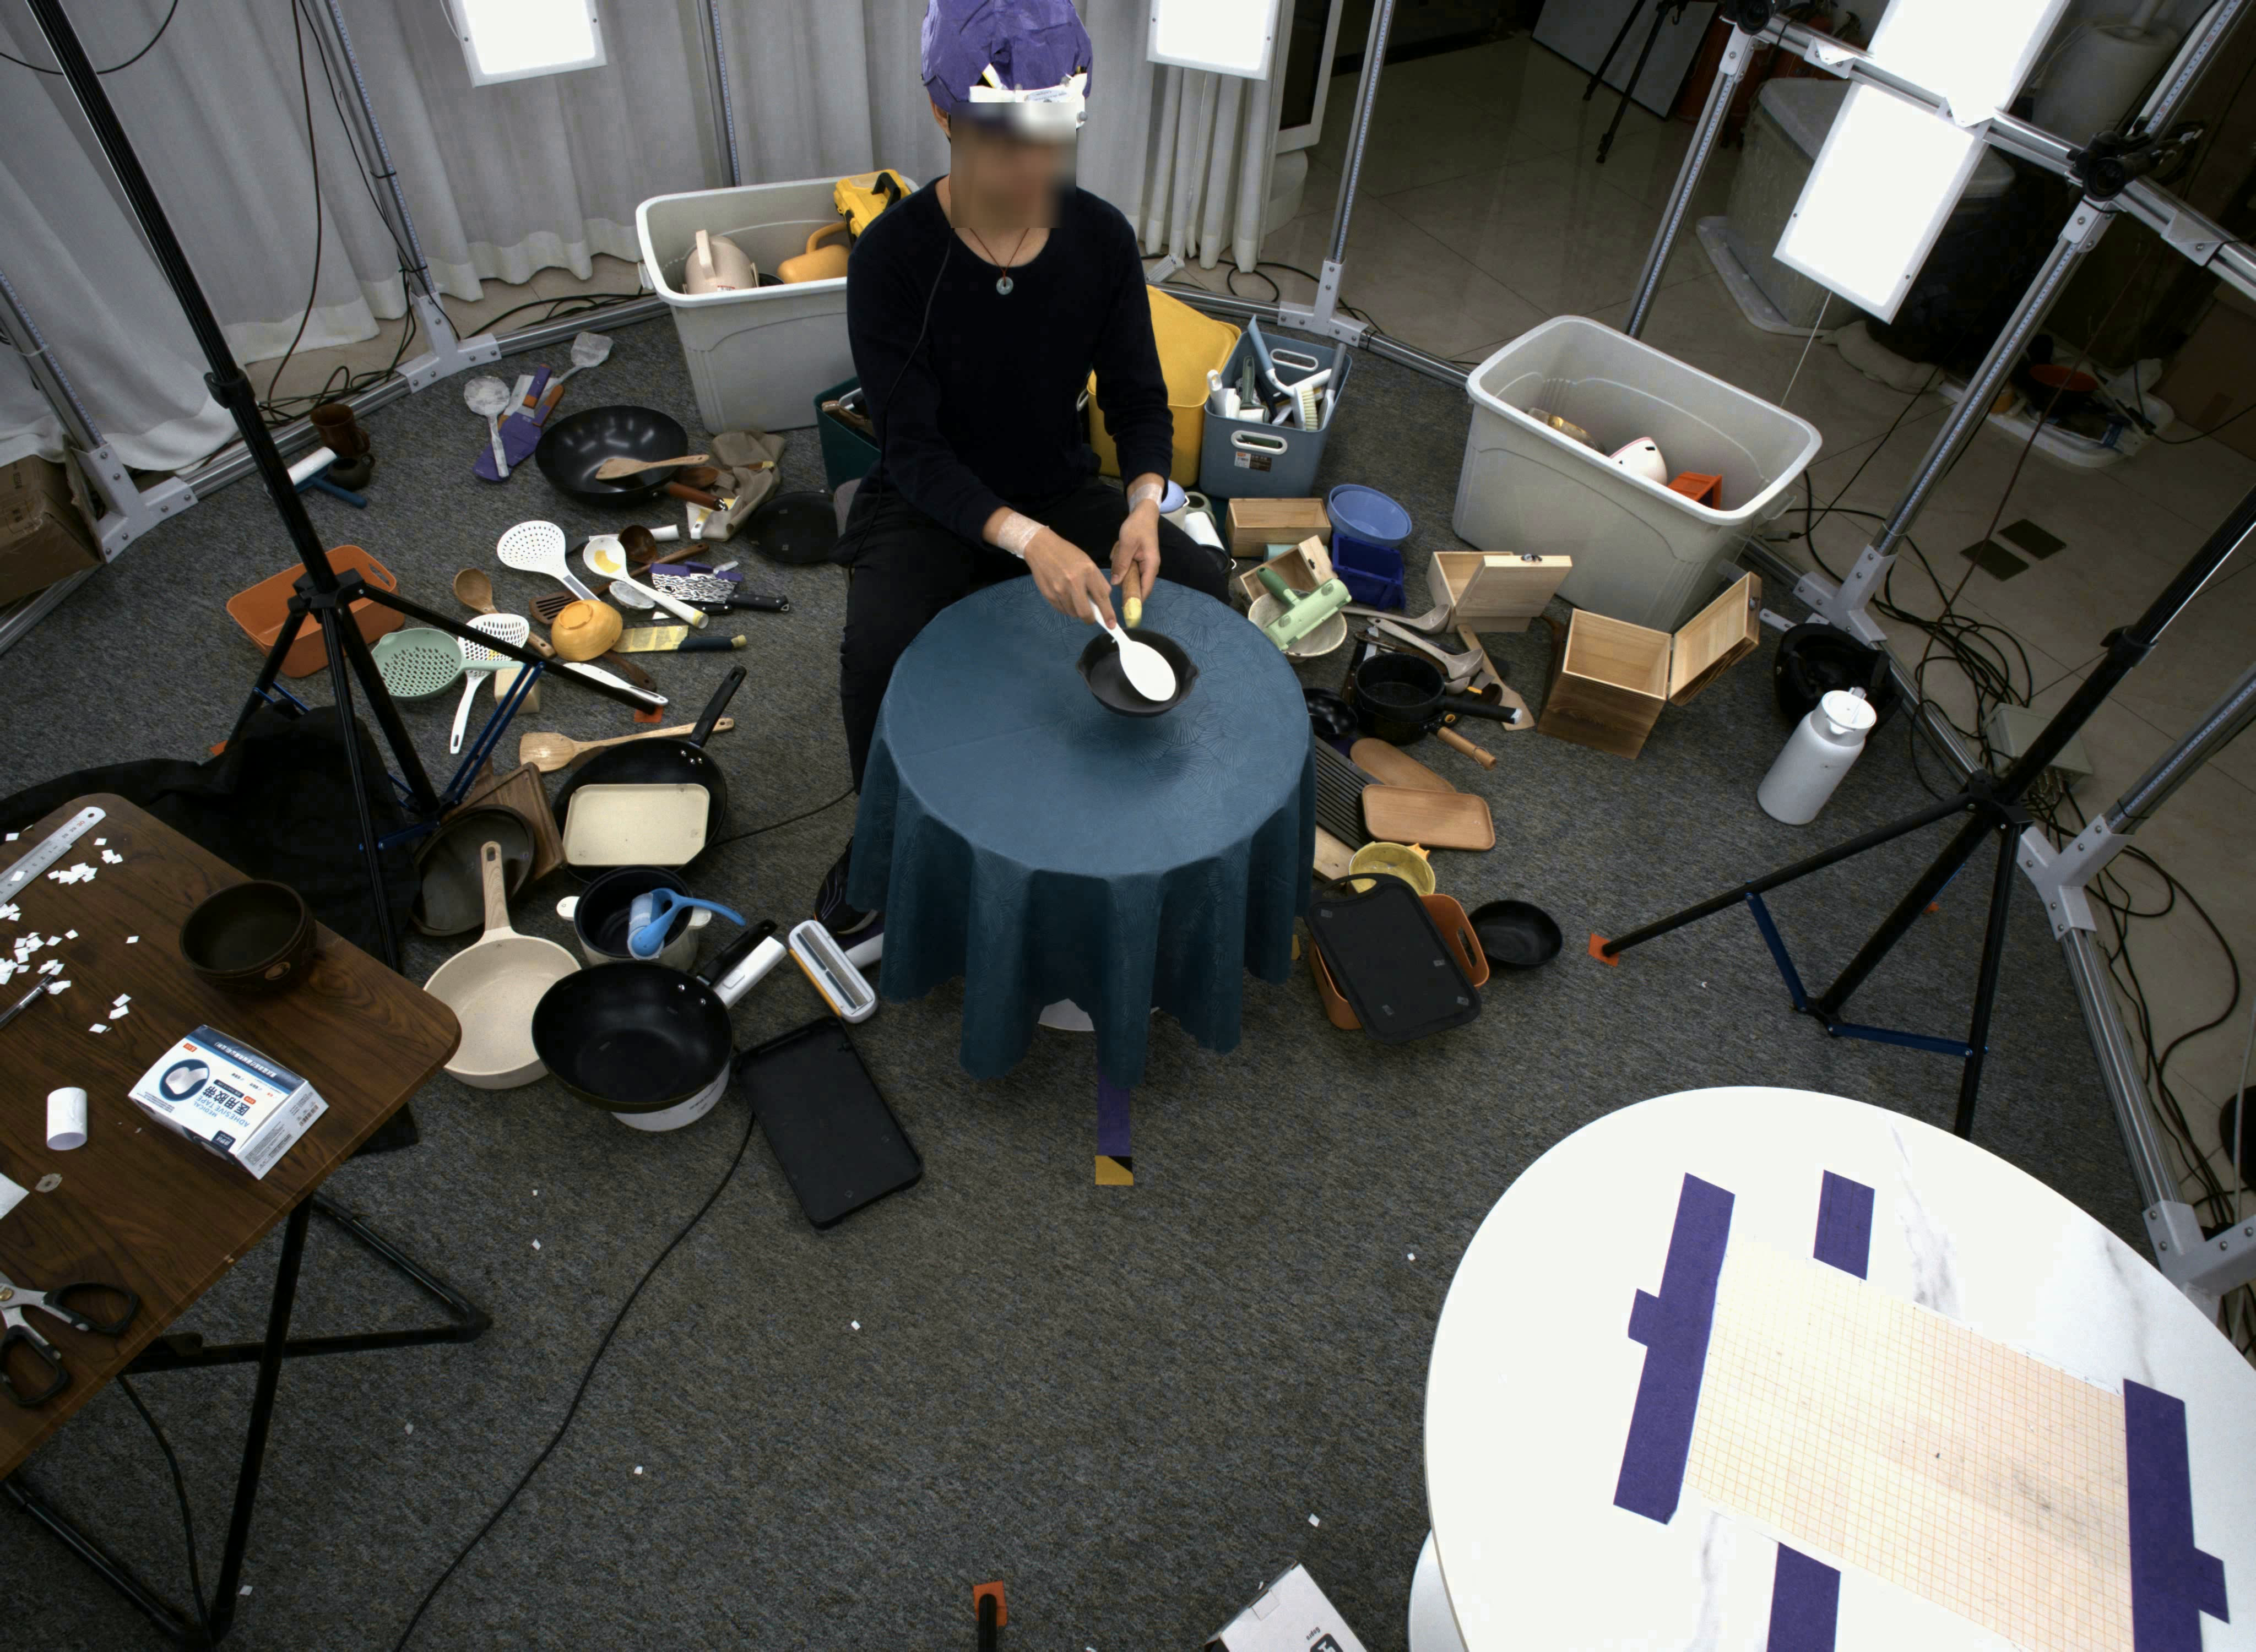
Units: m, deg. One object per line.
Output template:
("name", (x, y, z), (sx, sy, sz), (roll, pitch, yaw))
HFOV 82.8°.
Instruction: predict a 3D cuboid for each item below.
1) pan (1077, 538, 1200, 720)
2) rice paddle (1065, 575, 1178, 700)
("pan", (0.011, -0.276, 1.791), (0.168, 0.048, 0.332), (3, 53, -6))
("rice paddle", (-0.006, -0.254, 1.745), (0.069, 0.029, 0.205), (-40, 88, -31))
